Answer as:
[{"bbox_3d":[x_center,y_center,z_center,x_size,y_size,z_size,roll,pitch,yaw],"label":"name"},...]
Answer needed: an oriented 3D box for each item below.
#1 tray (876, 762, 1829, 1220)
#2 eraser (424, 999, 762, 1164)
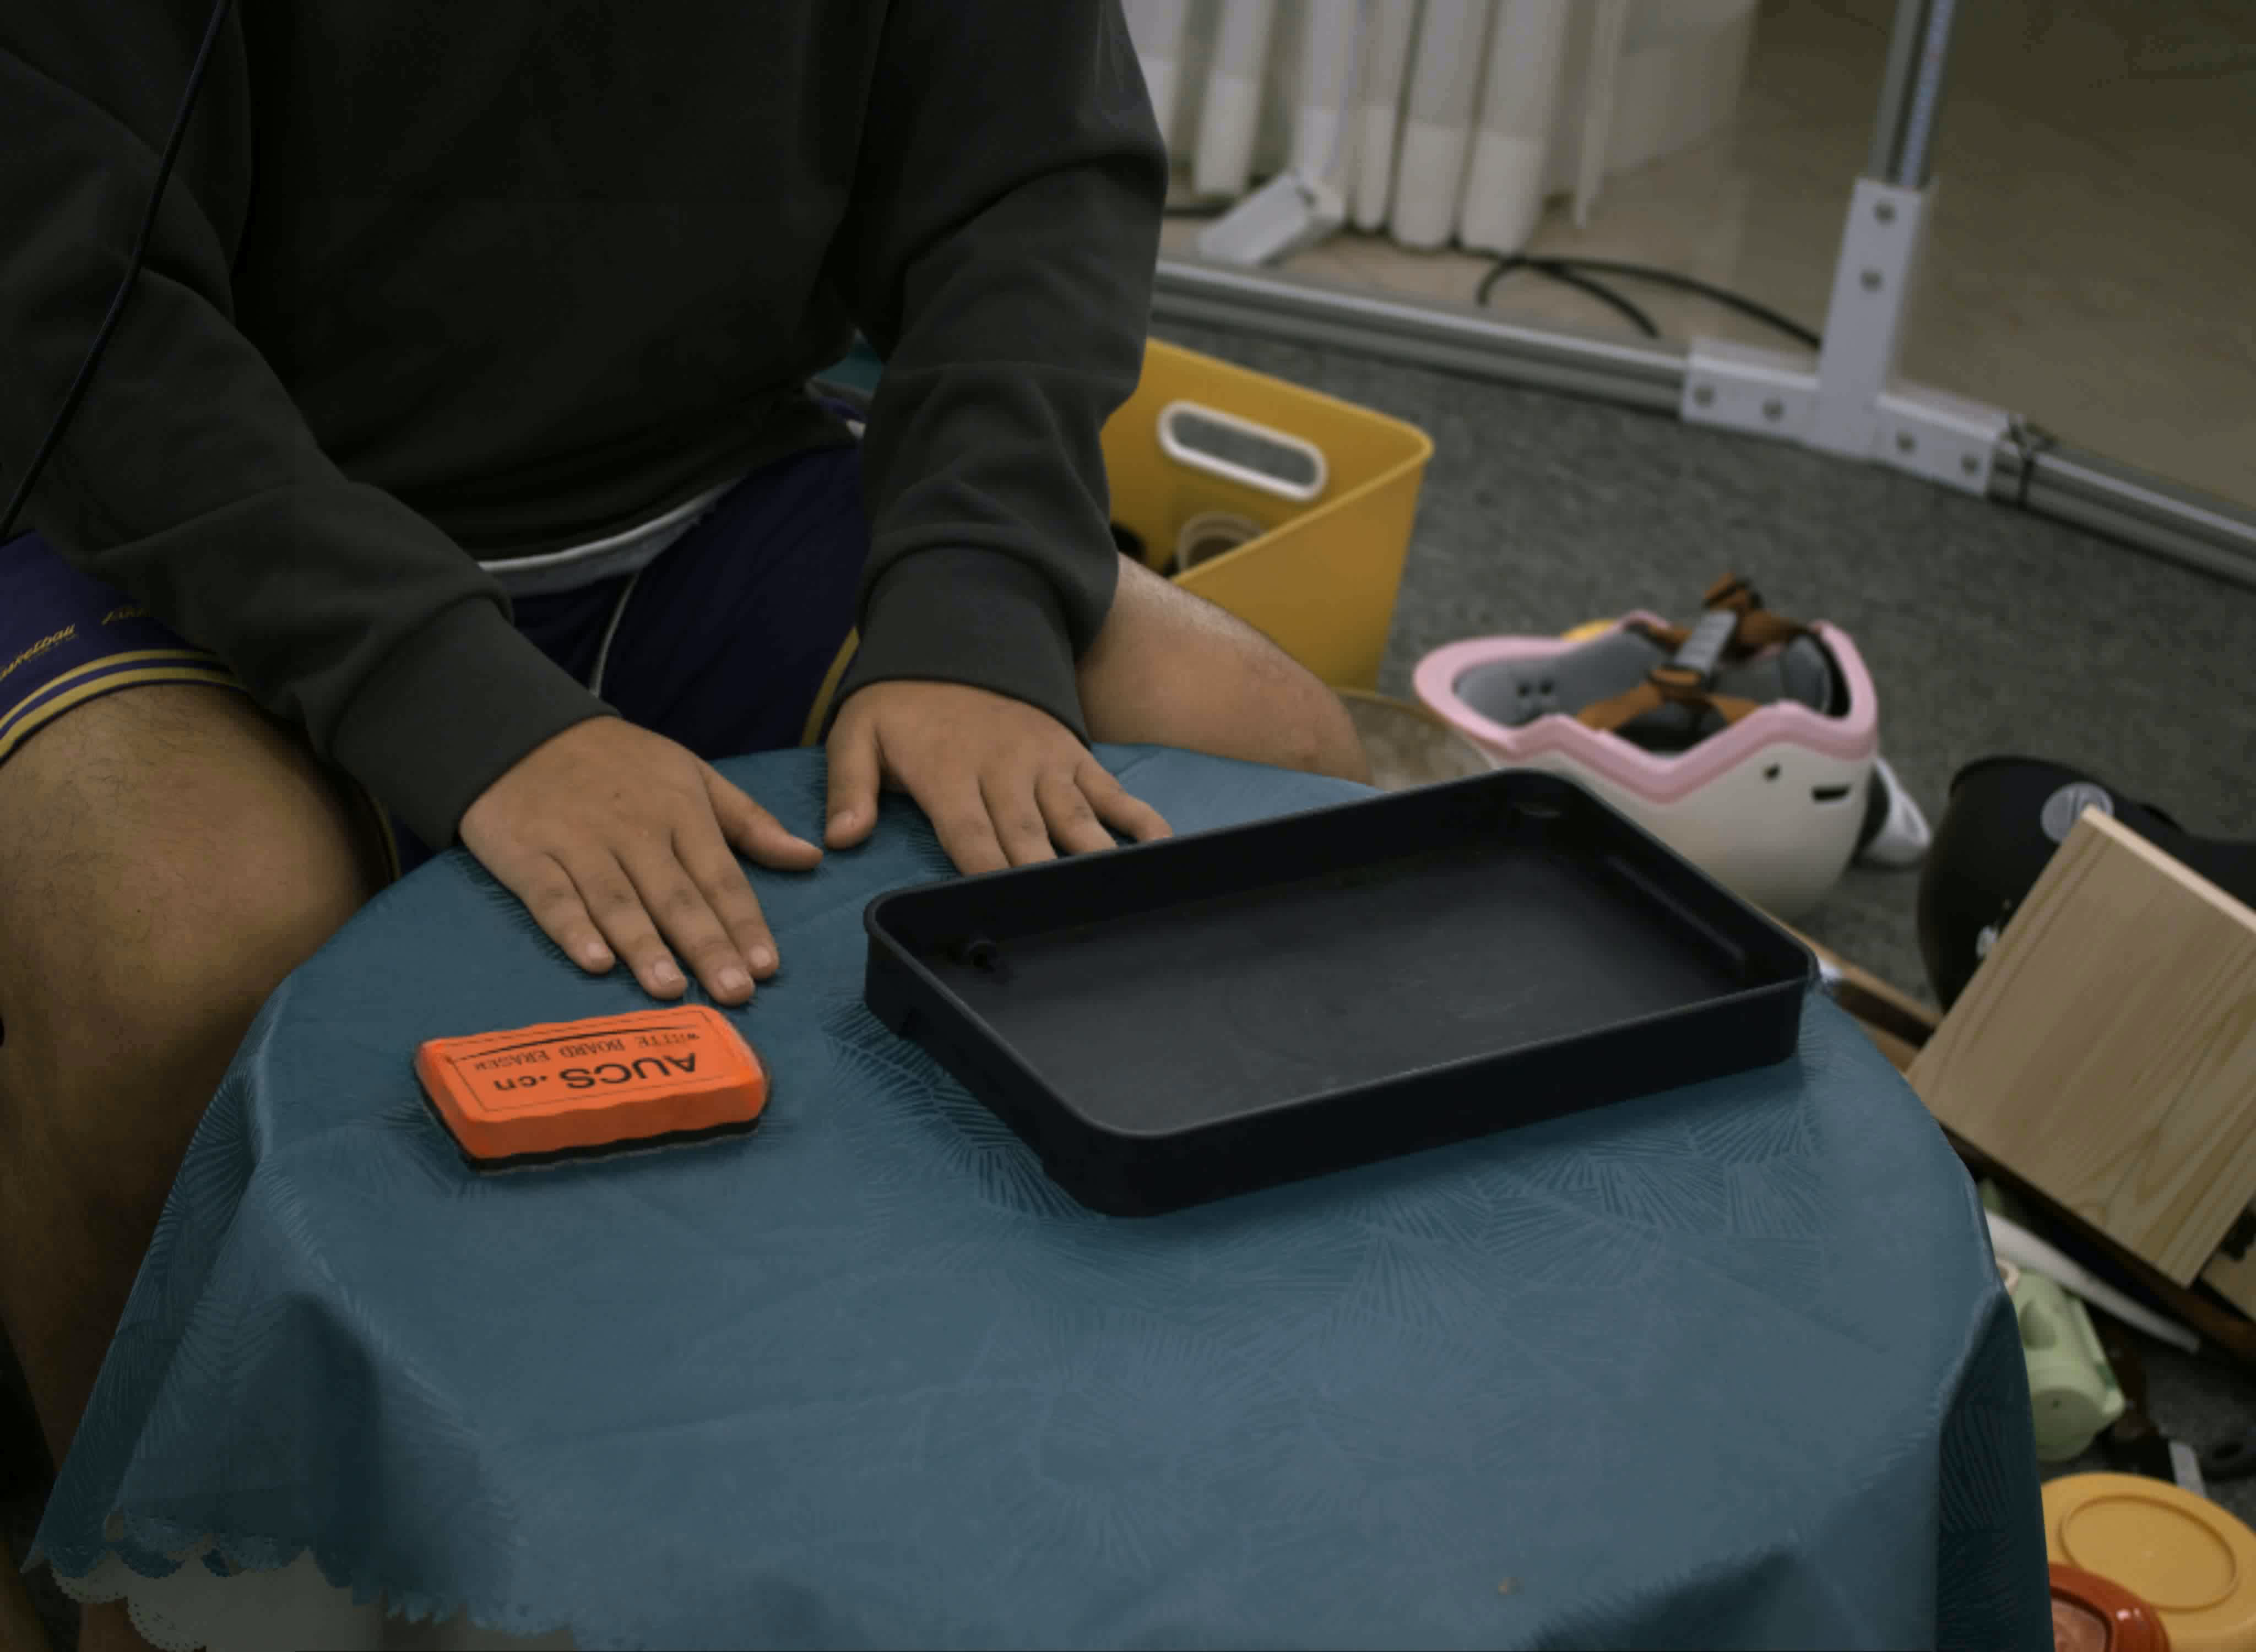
[{"bbox_3d":[0.081,0.054,1.918,0.316,0.037,0.186,-12,32,-32],"label":"tray"},{"bbox_3d":[-0.181,0.086,1.801,0.107,0.023,0.059,-9,25,-25],"label":"eraser"}]
